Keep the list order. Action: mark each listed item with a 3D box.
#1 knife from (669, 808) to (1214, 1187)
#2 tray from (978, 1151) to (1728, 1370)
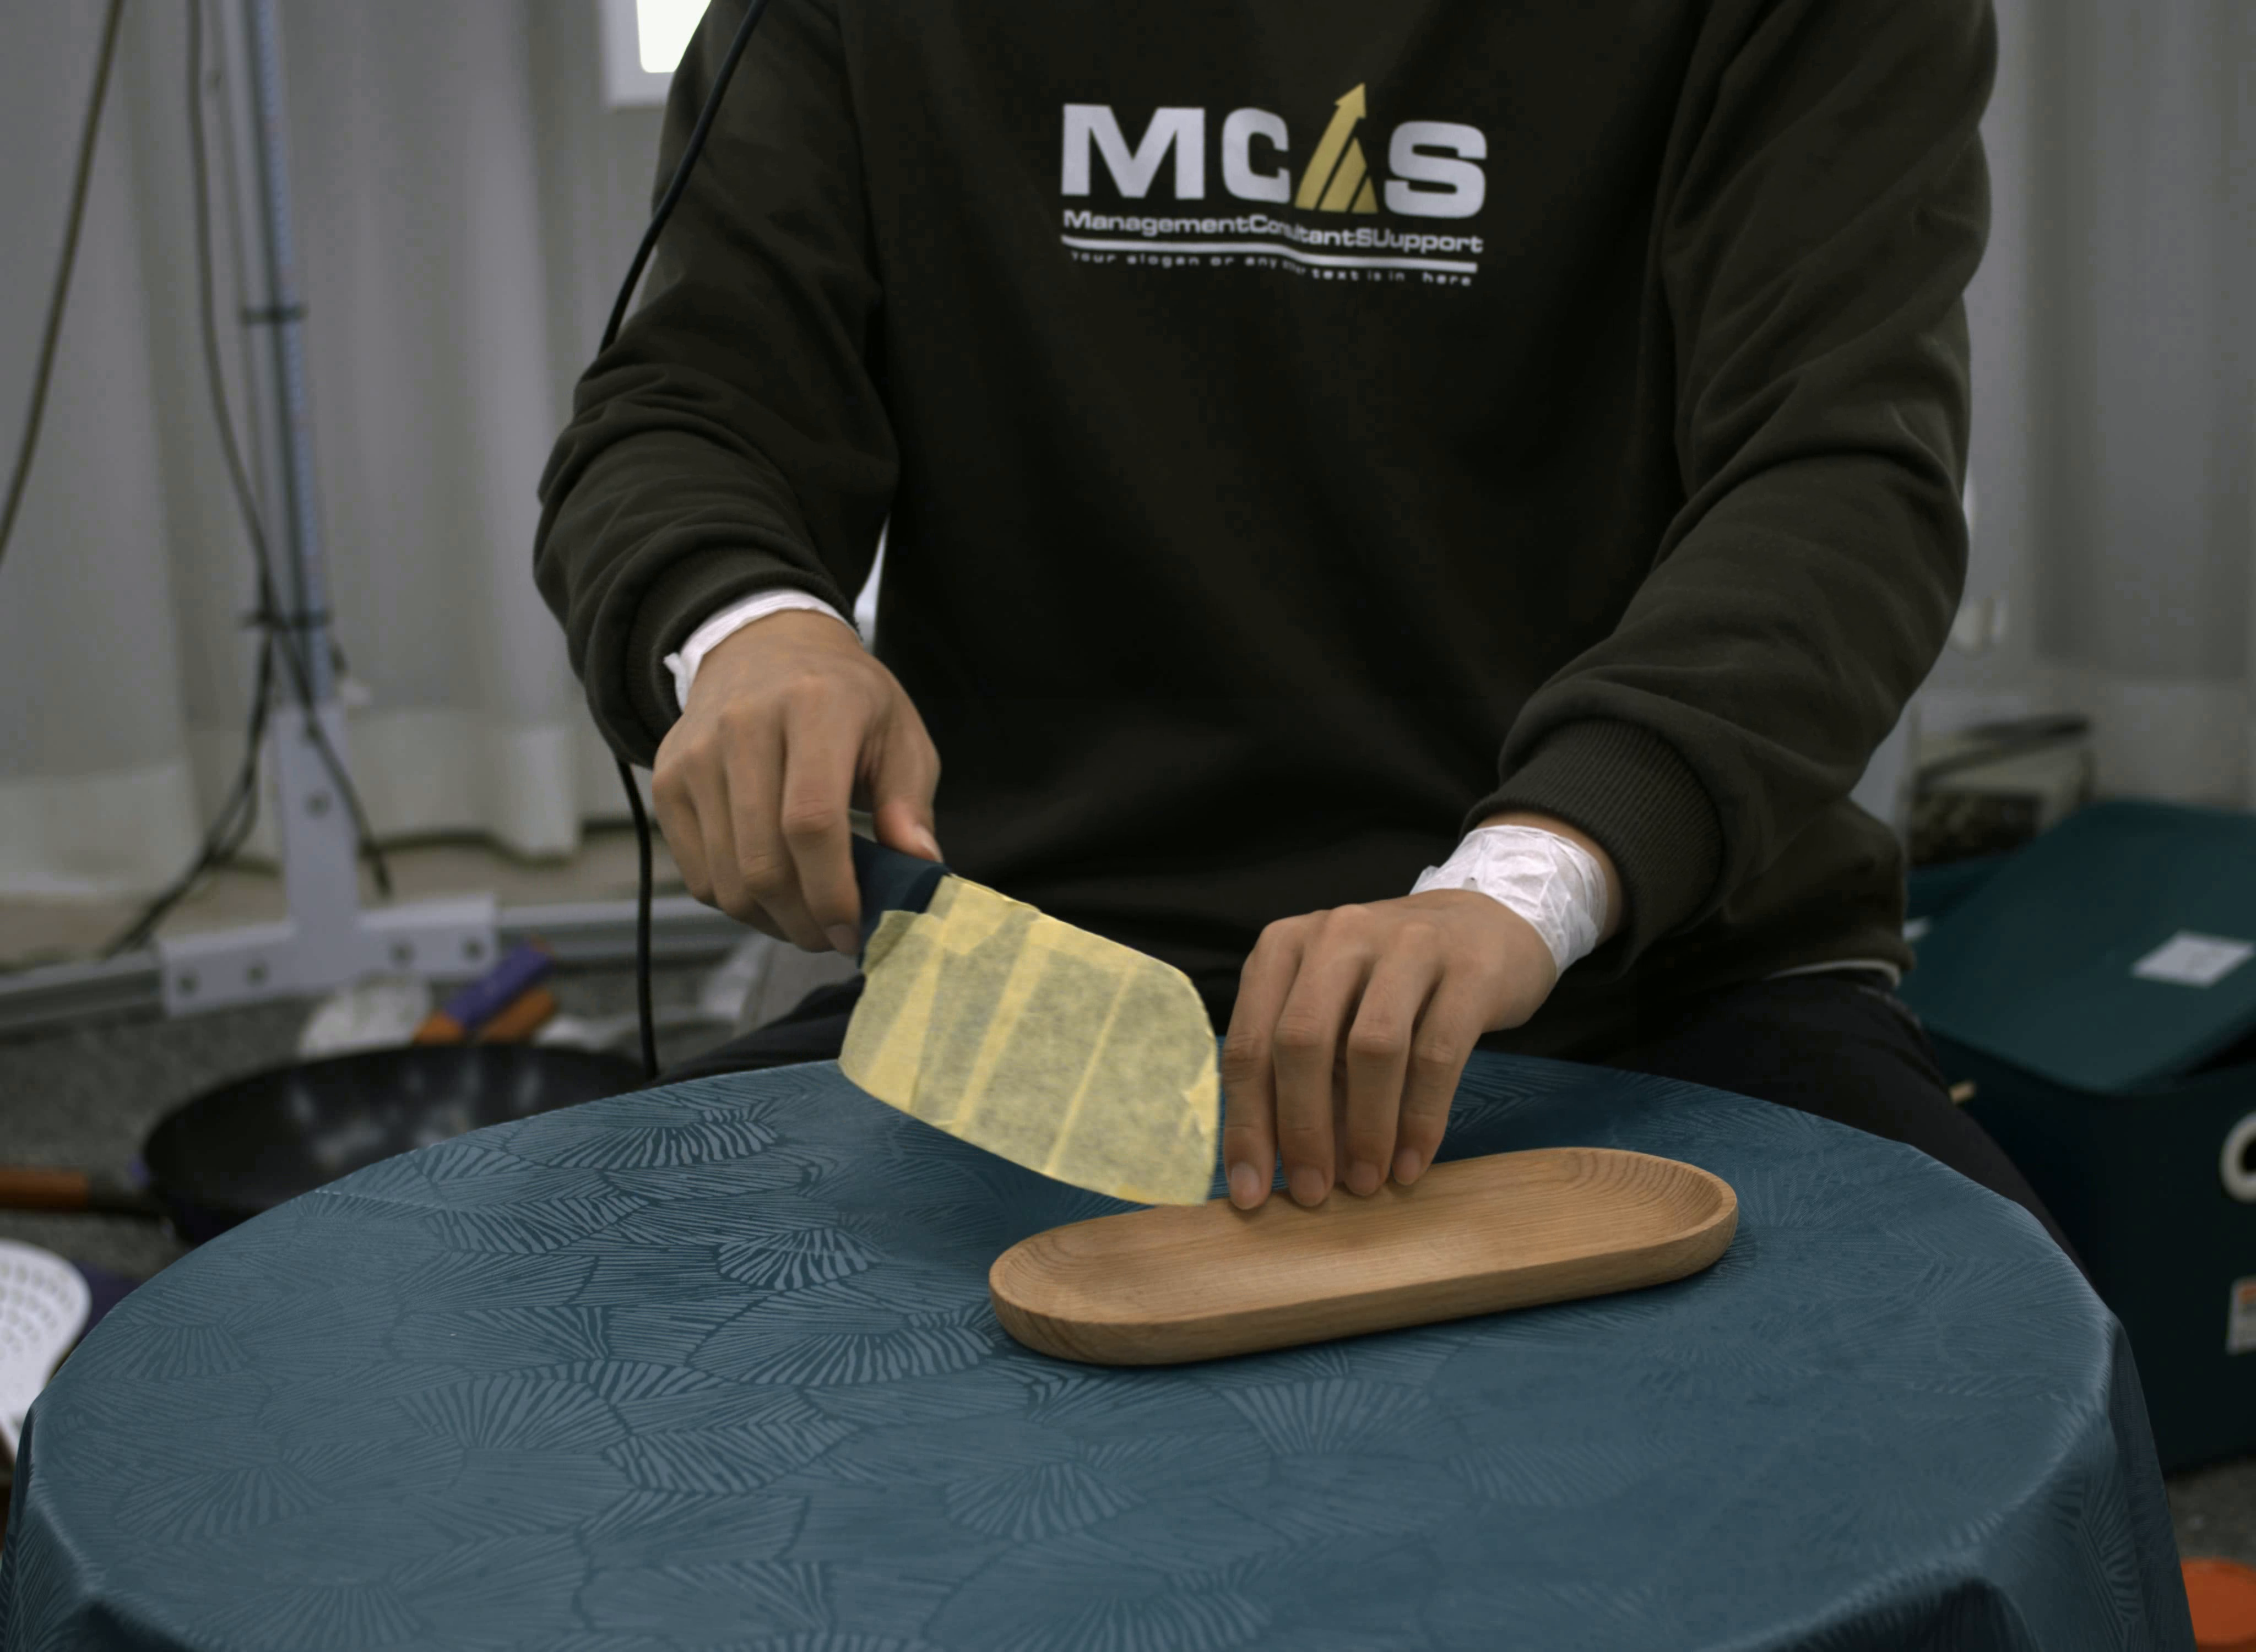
[{"bbox_3d":[-0.063,0.049,1.676,0.027,0.081,0.292,29,-3,-40],"label":"knife"},{"bbox_3d":[0.068,0.129,1.621,0.230,0.020,0.102,-9,14,-17],"label":"tray"}]
